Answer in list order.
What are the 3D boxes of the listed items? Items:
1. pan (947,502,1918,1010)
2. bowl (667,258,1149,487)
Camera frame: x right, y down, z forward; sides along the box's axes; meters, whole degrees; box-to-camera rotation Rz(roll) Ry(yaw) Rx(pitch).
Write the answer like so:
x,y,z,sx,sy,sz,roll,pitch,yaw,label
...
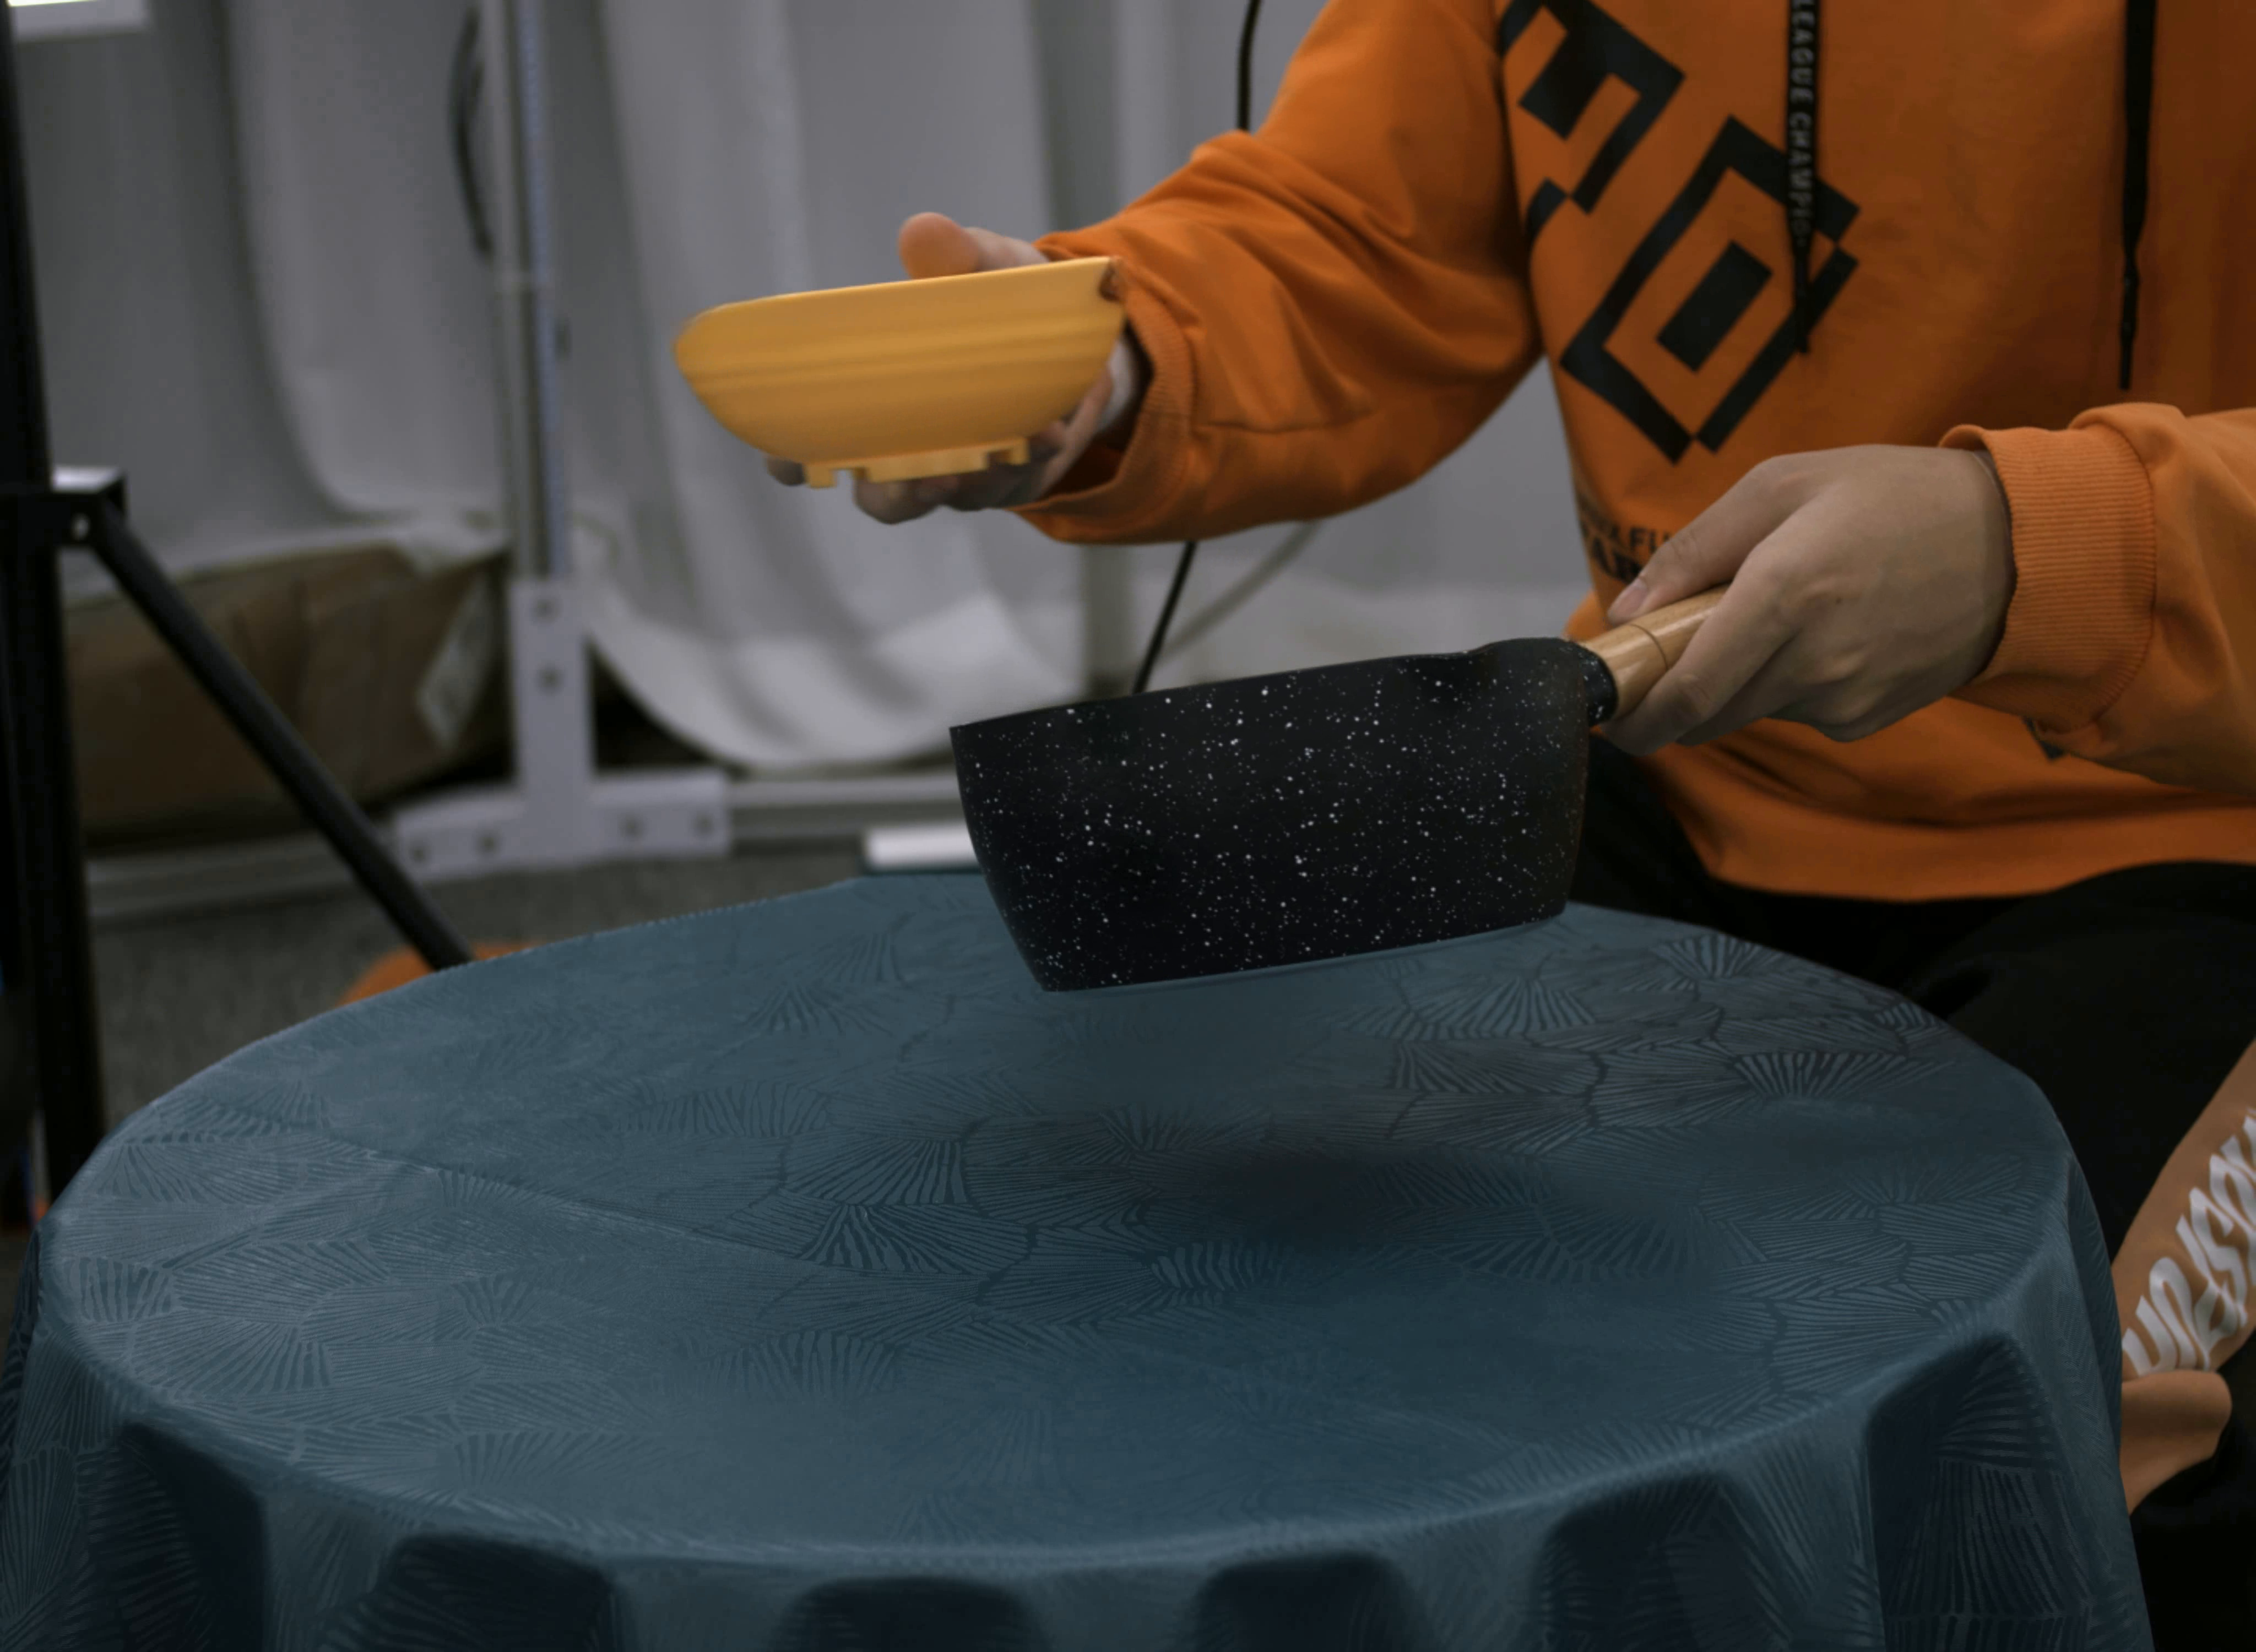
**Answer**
x,y,z,sx,sy,sz,roll,pitch,yaw,label
0.108,-0.022,1.578,0.335,0.109,0.211,-10,0,-33,pan
-0.063,-0.134,1.593,0.144,0.060,0.145,-6,5,-1,bowl
